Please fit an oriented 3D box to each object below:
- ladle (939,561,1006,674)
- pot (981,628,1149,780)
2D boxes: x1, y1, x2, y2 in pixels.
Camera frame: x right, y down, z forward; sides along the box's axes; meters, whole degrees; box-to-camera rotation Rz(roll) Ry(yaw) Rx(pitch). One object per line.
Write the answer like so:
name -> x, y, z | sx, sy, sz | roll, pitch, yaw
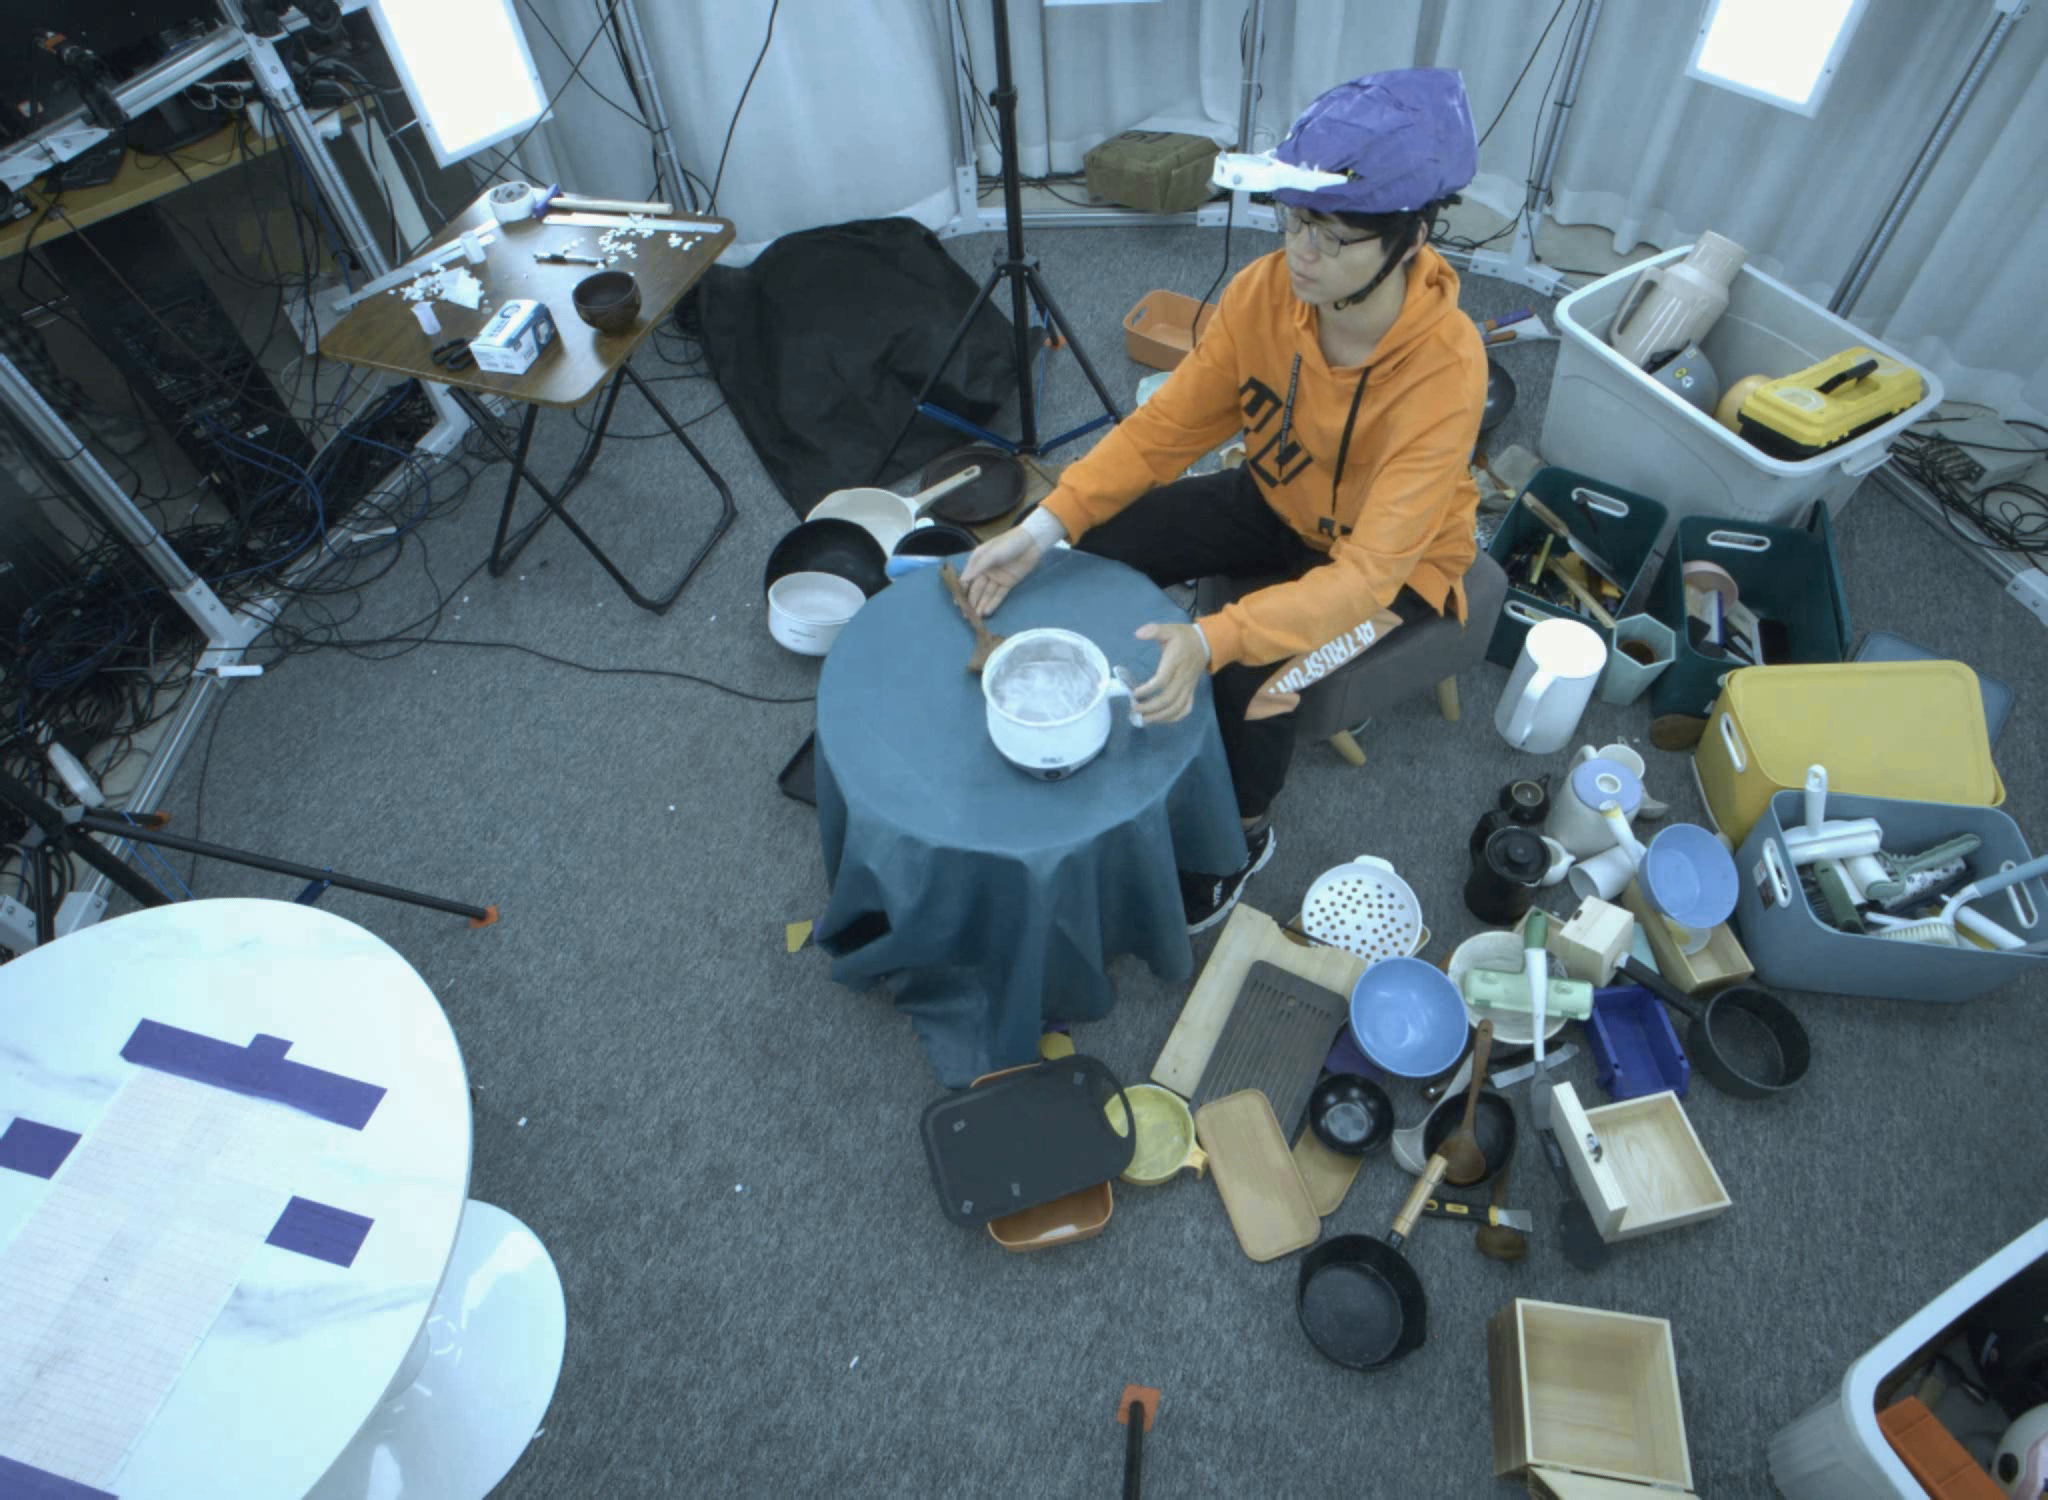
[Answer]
ladle -> -0.094, -0.218, 1.908 | 0.076, 0.066, 0.255 | -35, 57, 13
pot -> 0.061, -0.067, 1.748 | 0.234, 0.138, 0.176 | -5, 55, -1
